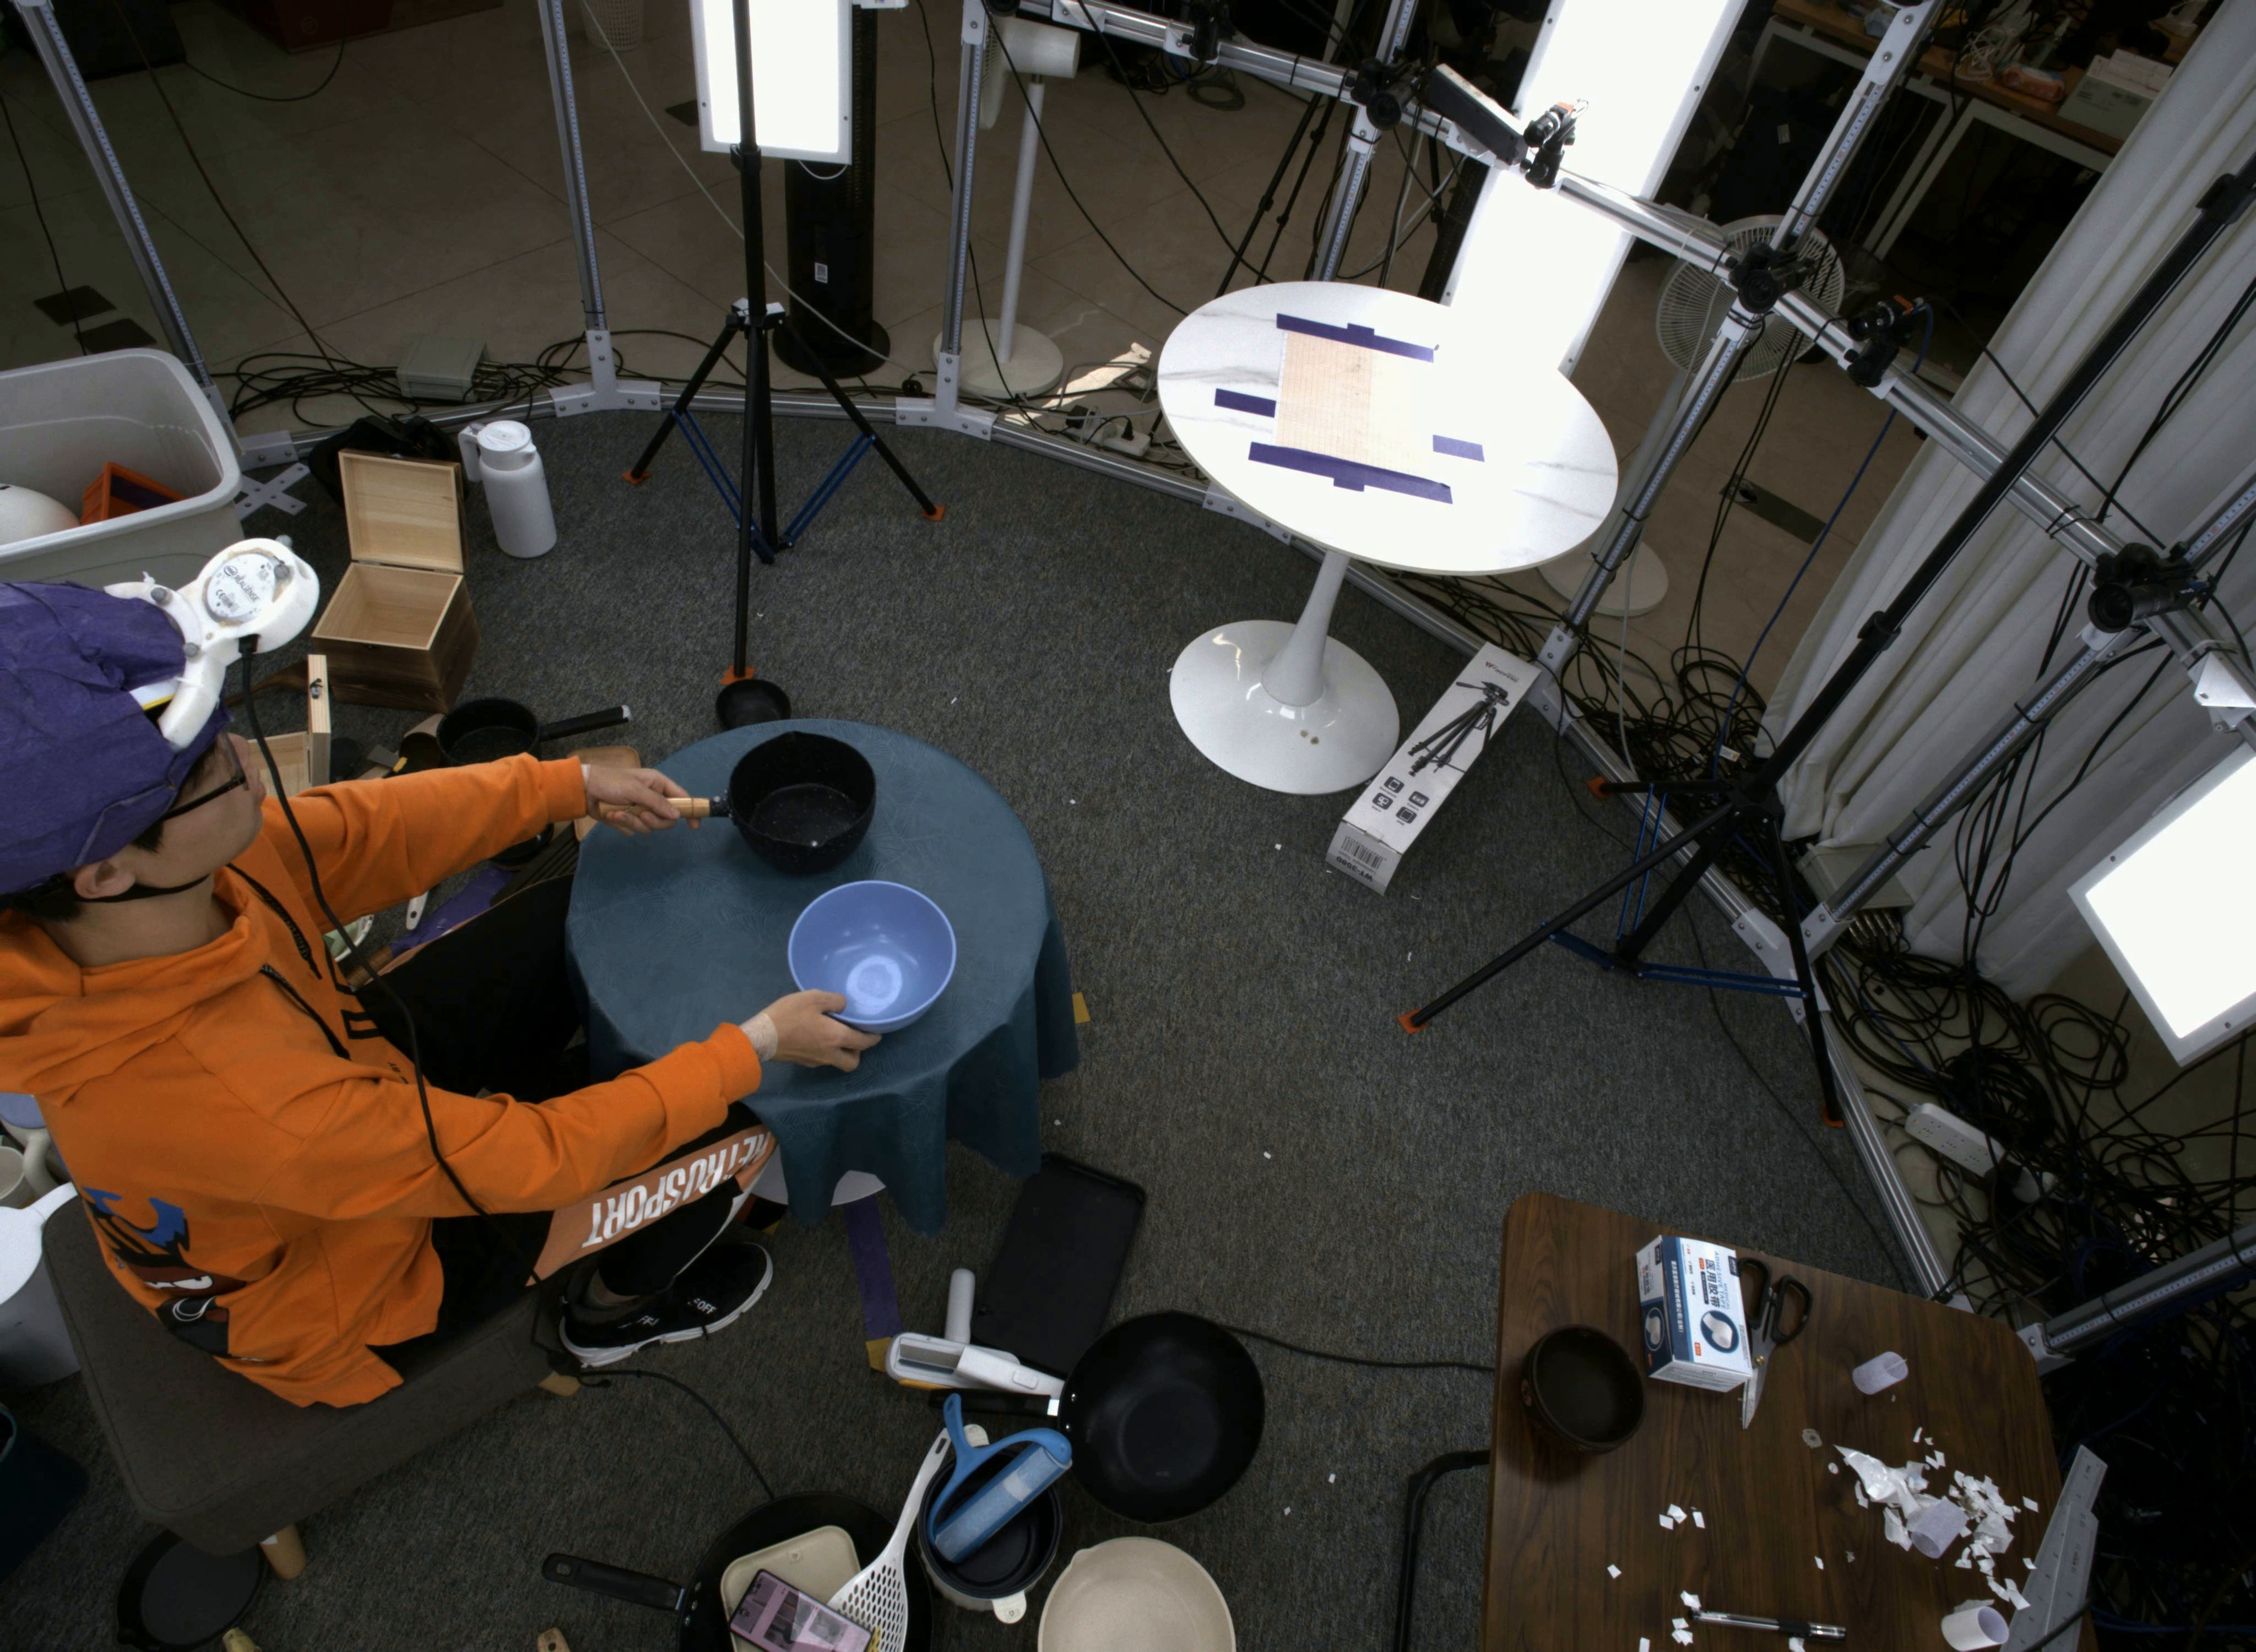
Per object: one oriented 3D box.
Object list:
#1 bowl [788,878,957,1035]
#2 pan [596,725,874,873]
[{"bbox_3d":[-0.305,0.169,1.554,0.196,0.097,0.193,8,54,-9],"label":"bowl"},{"bbox_3d":[-0.490,-0.021,1.624,0.344,0.110,0.202,-10,55,-21],"label":"pan"}]
